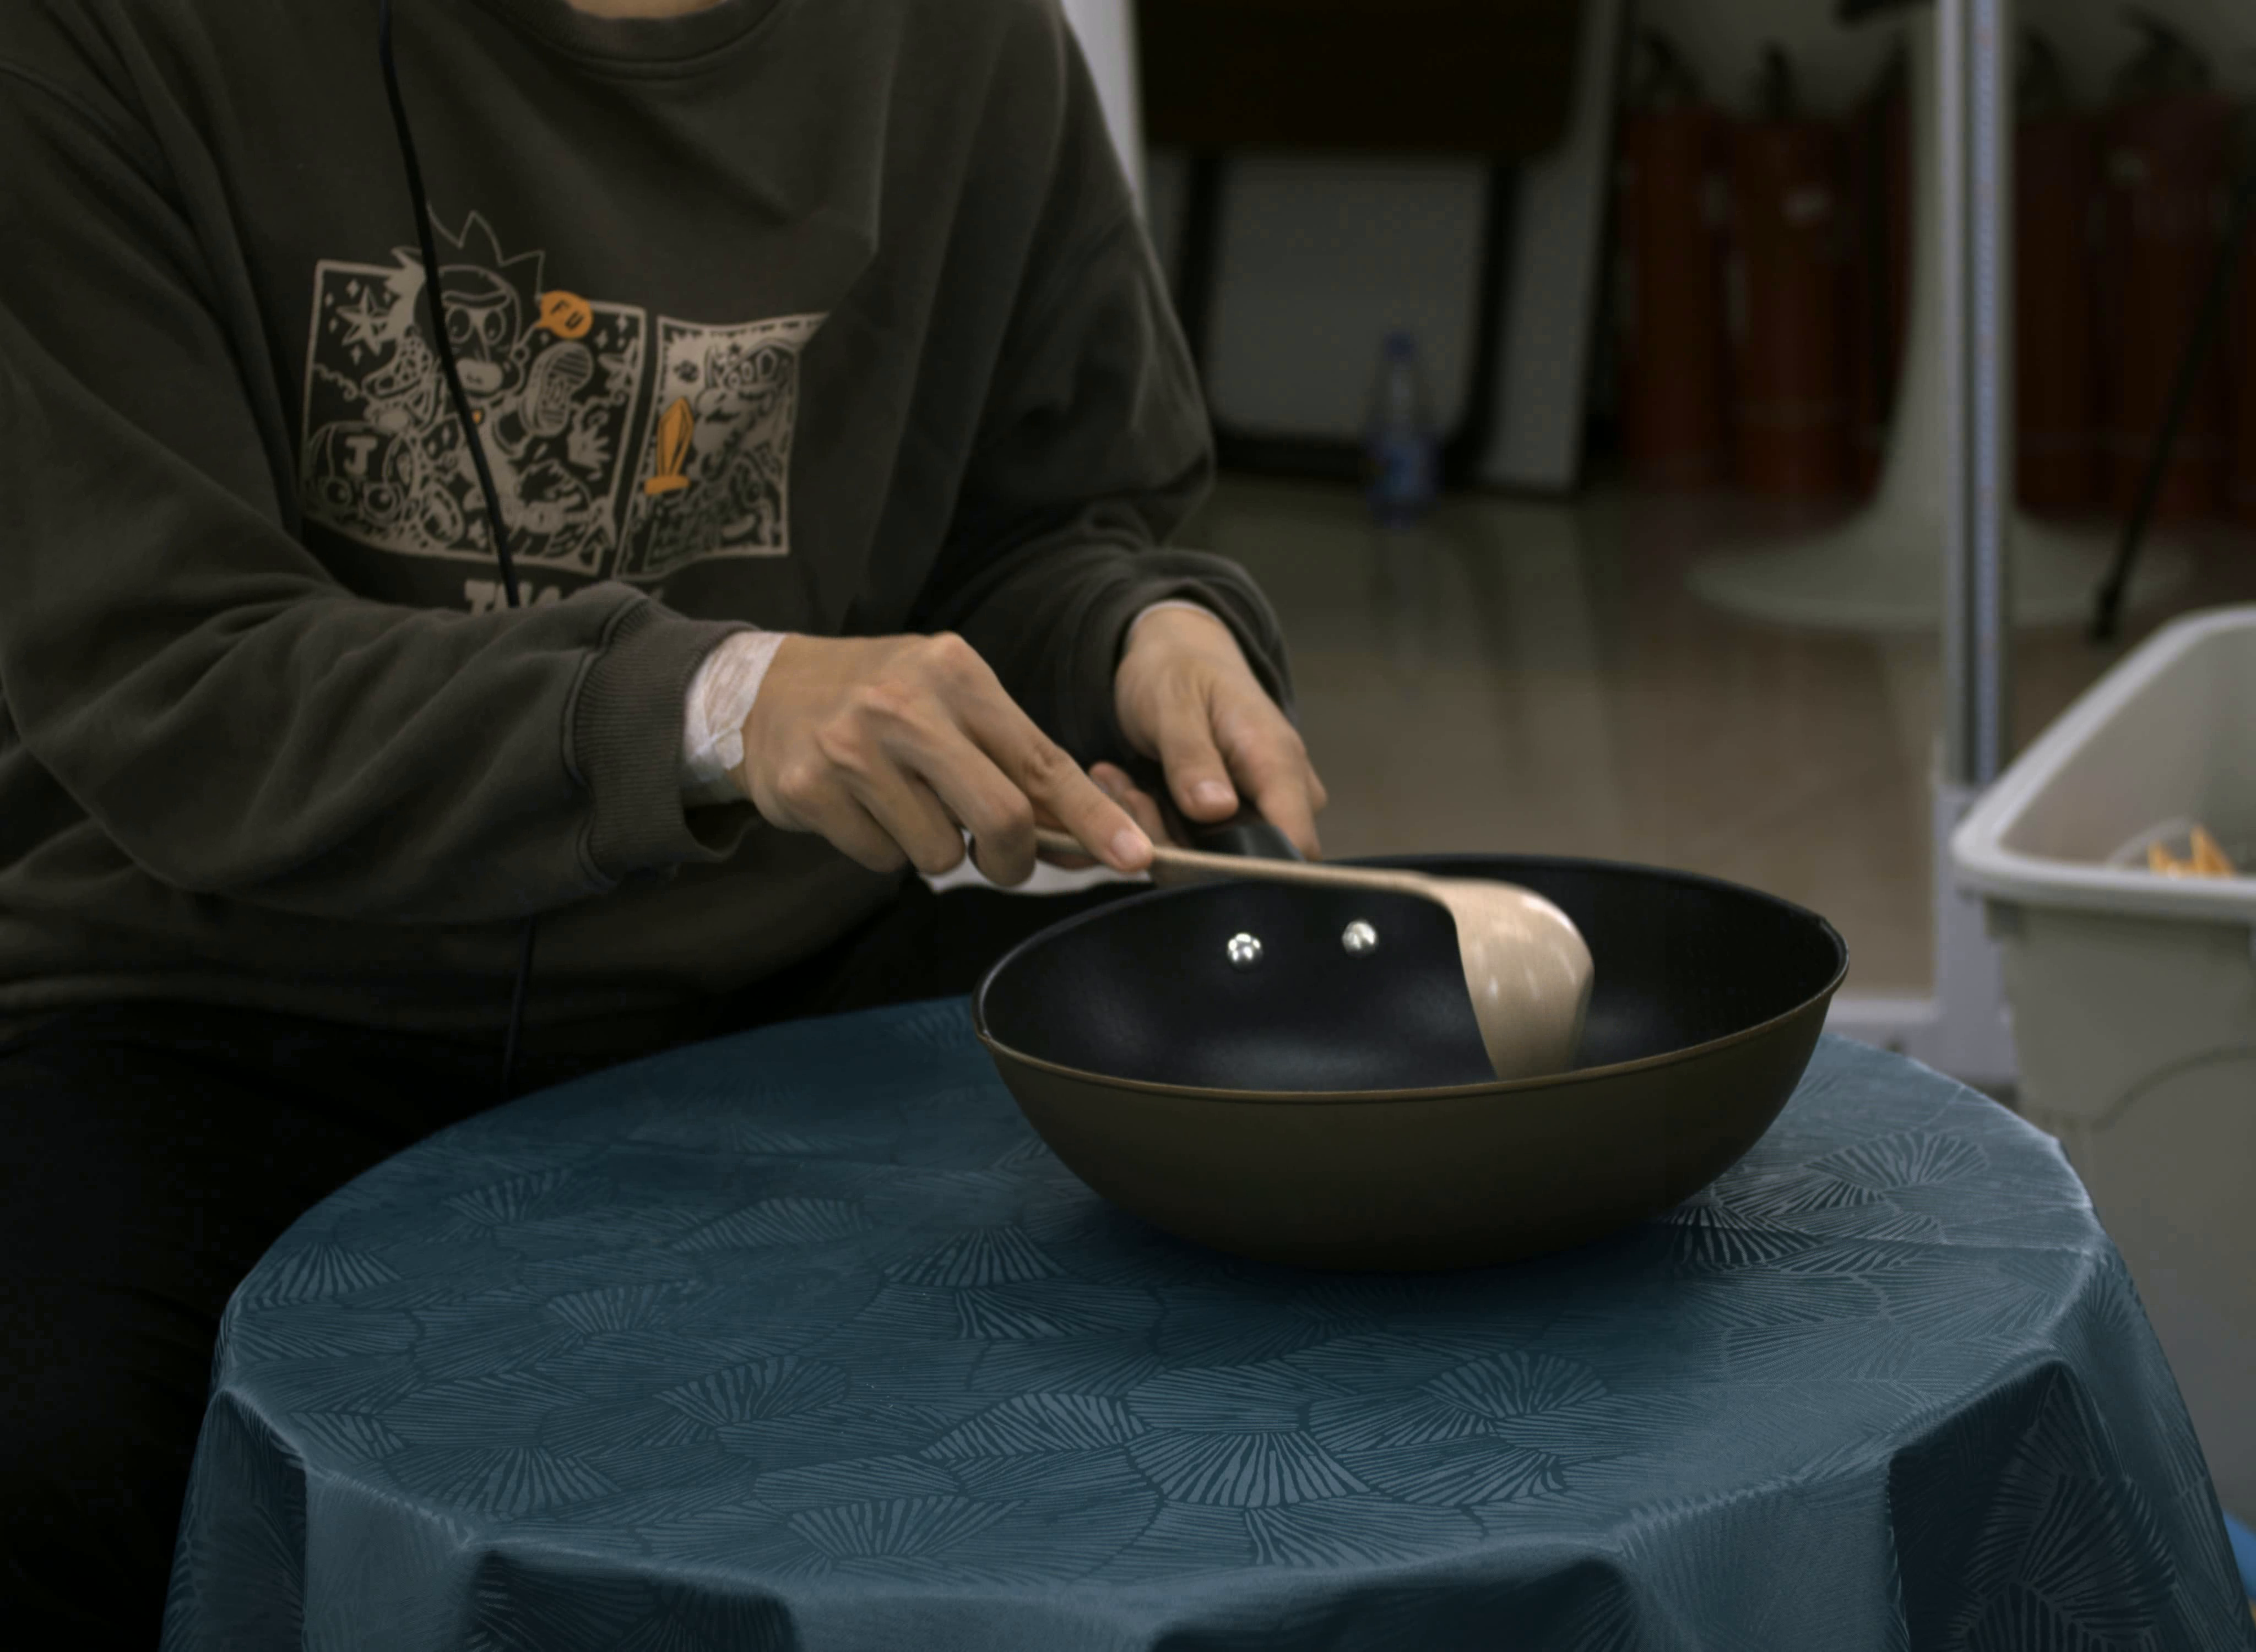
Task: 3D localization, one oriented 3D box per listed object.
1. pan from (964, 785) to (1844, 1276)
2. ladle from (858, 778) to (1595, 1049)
[{"bbox_3d":[0.068,0.065,1.815,0.283,0.088,0.466,-7,12,-12],"label":"pan"},{"bbox_3d":[0.026,0.043,1.751,0.254,0.074,0.071,11,10,16],"label":"ladle"}]
